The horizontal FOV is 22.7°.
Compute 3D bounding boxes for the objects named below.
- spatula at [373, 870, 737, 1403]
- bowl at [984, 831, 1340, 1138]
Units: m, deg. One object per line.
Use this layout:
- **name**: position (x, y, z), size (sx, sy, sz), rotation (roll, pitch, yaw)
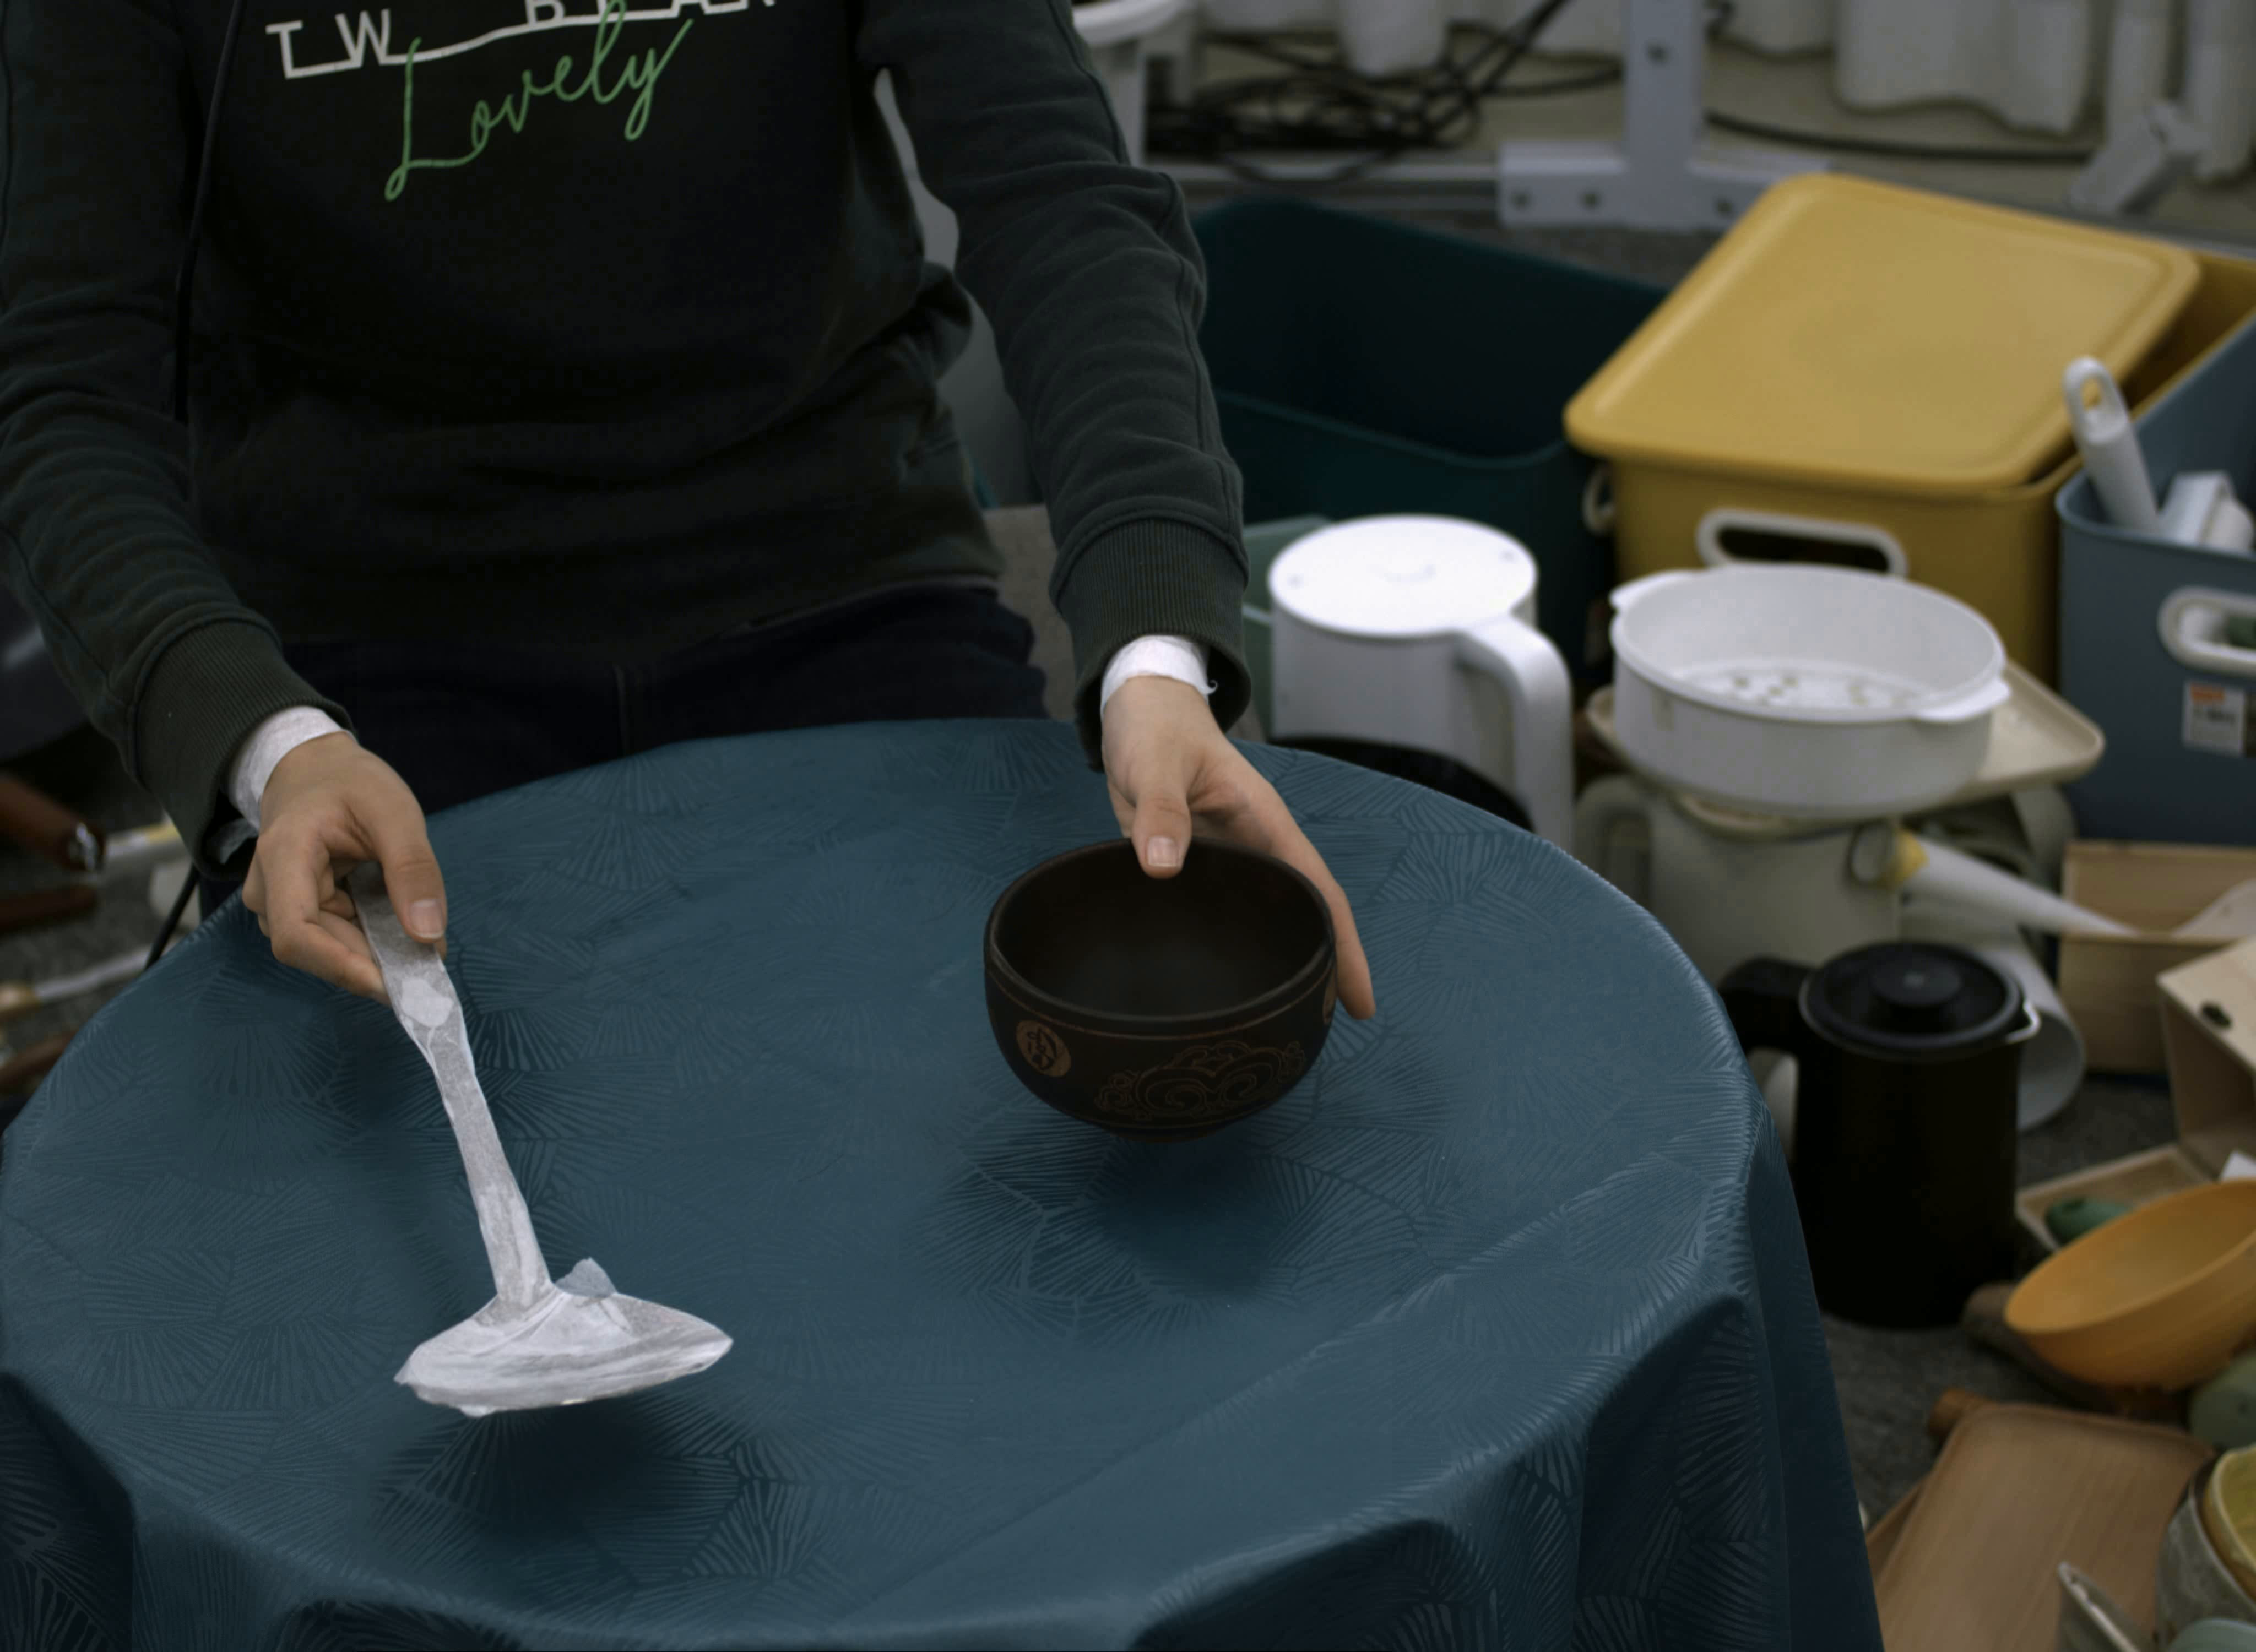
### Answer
- **spatula**: position (-0.210, 0.092, 1.827), size (0.099, 0.044, 0.369), rotation (-9, 33, -13)
- **bowl**: position (0.011, 0.059, 1.862), size (0.117, 0.069, 0.120), rotation (0, 29, 0)
